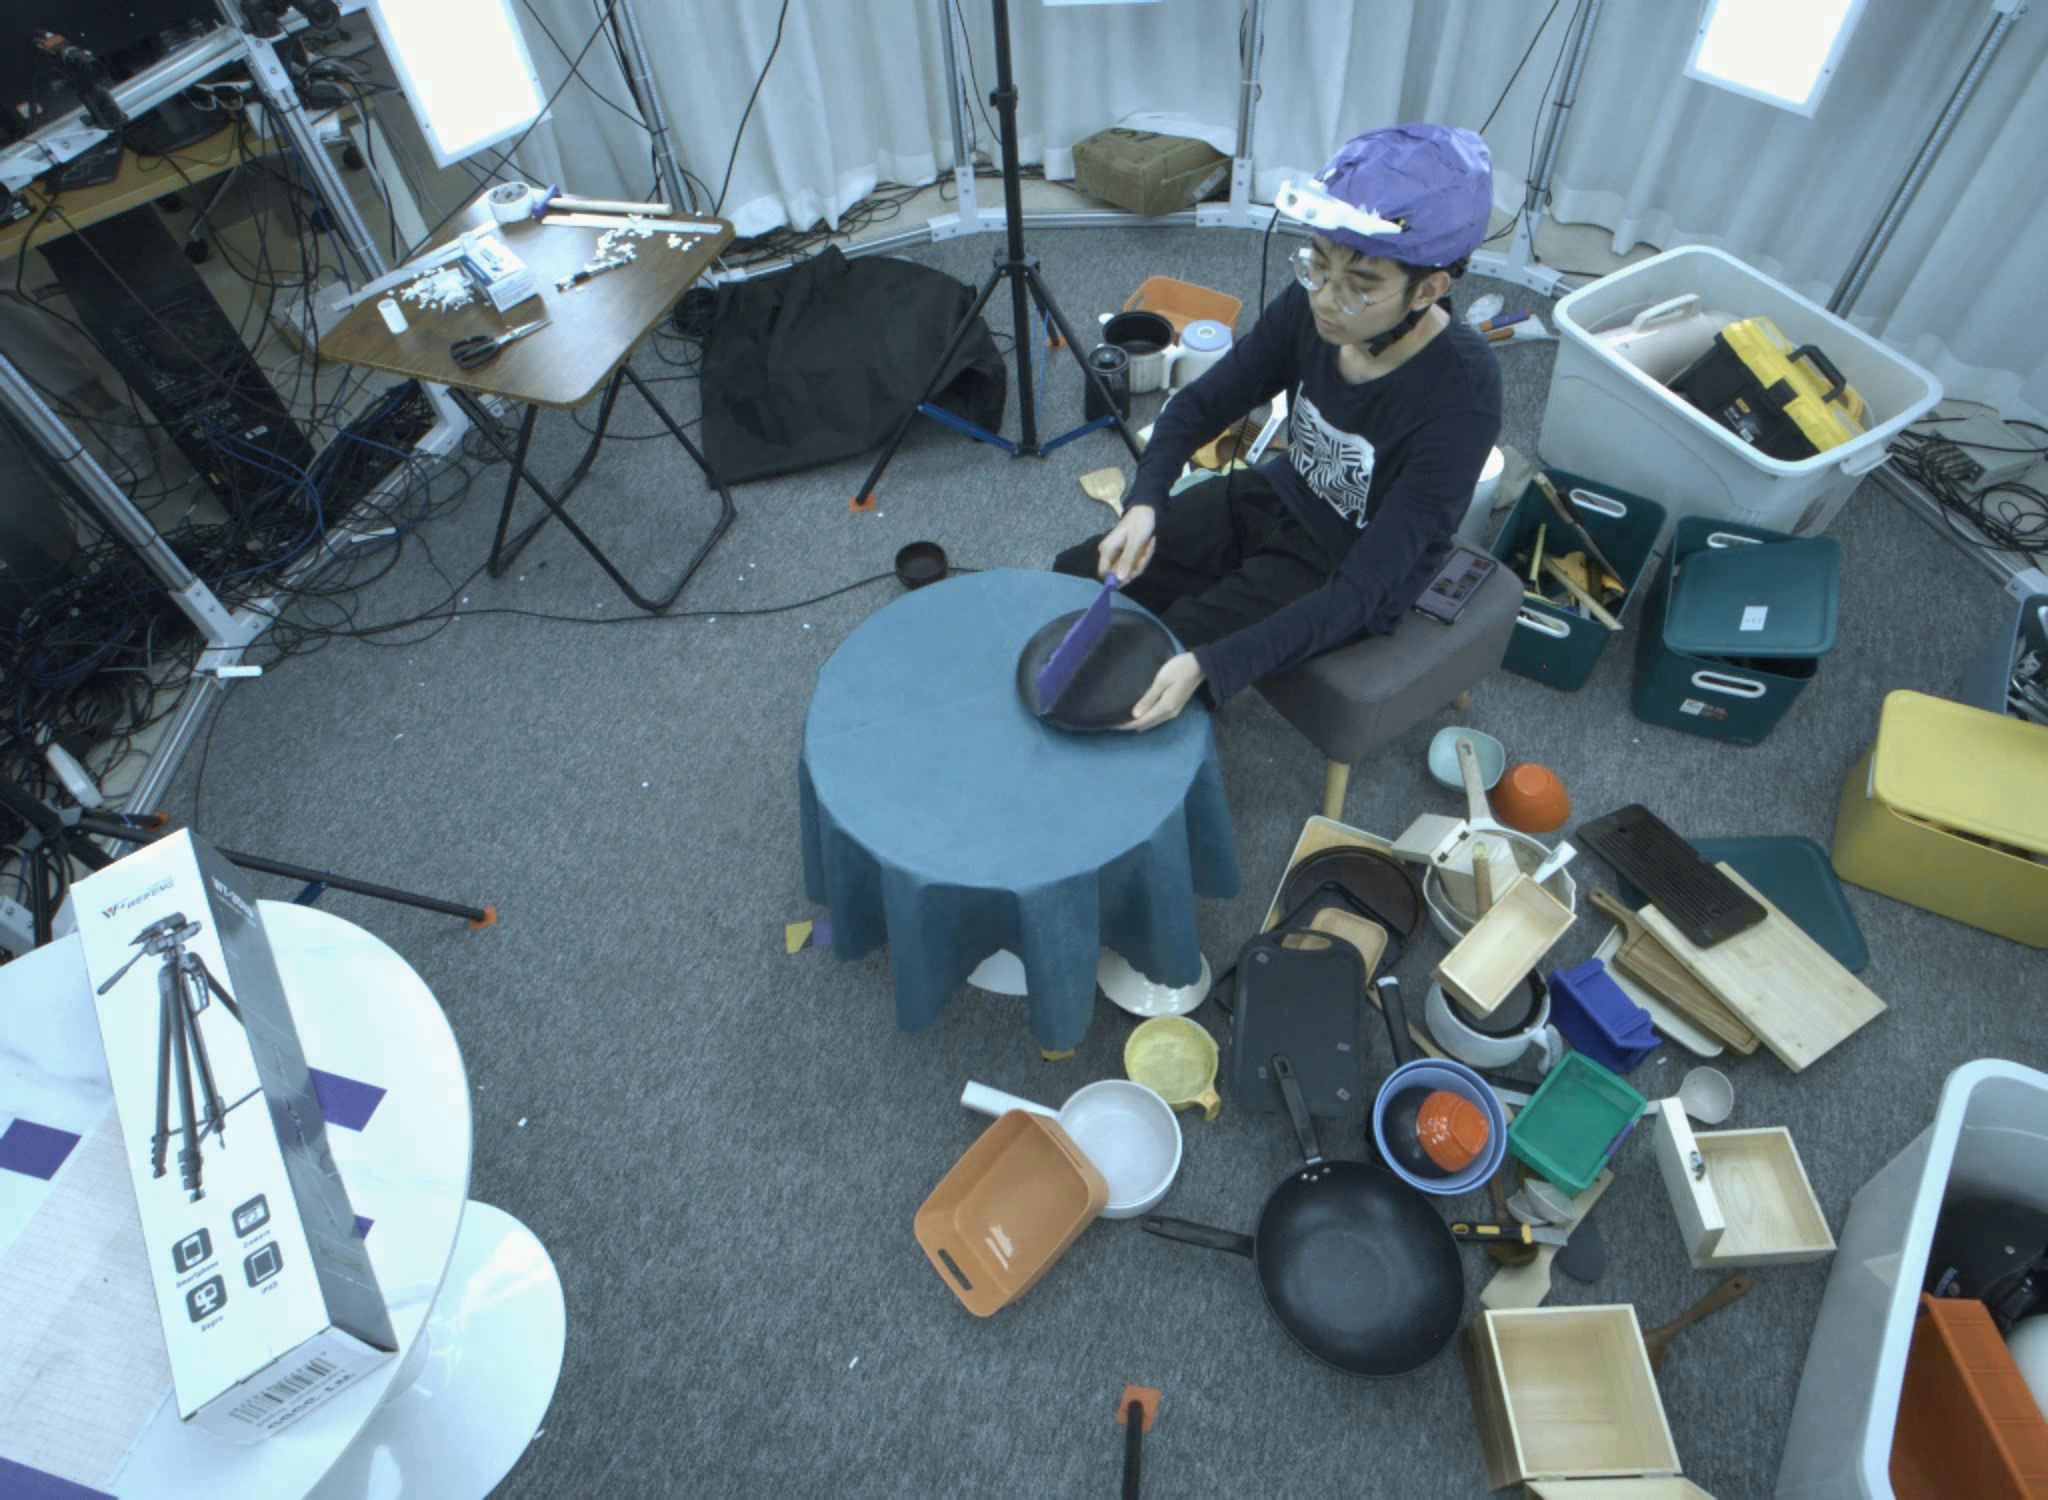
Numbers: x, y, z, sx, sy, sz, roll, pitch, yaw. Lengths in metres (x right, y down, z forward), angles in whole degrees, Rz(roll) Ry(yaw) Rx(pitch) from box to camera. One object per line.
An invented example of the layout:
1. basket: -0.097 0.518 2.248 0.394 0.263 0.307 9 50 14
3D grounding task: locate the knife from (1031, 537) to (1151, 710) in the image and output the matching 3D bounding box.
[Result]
1. knife: 0.097 -0.191 1.837 0.032 0.105 0.316 28 62 19

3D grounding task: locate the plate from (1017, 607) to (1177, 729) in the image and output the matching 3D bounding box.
1. plate: 0.110 -0.121 1.851 0.243 0.024 0.242 -5 52 7
